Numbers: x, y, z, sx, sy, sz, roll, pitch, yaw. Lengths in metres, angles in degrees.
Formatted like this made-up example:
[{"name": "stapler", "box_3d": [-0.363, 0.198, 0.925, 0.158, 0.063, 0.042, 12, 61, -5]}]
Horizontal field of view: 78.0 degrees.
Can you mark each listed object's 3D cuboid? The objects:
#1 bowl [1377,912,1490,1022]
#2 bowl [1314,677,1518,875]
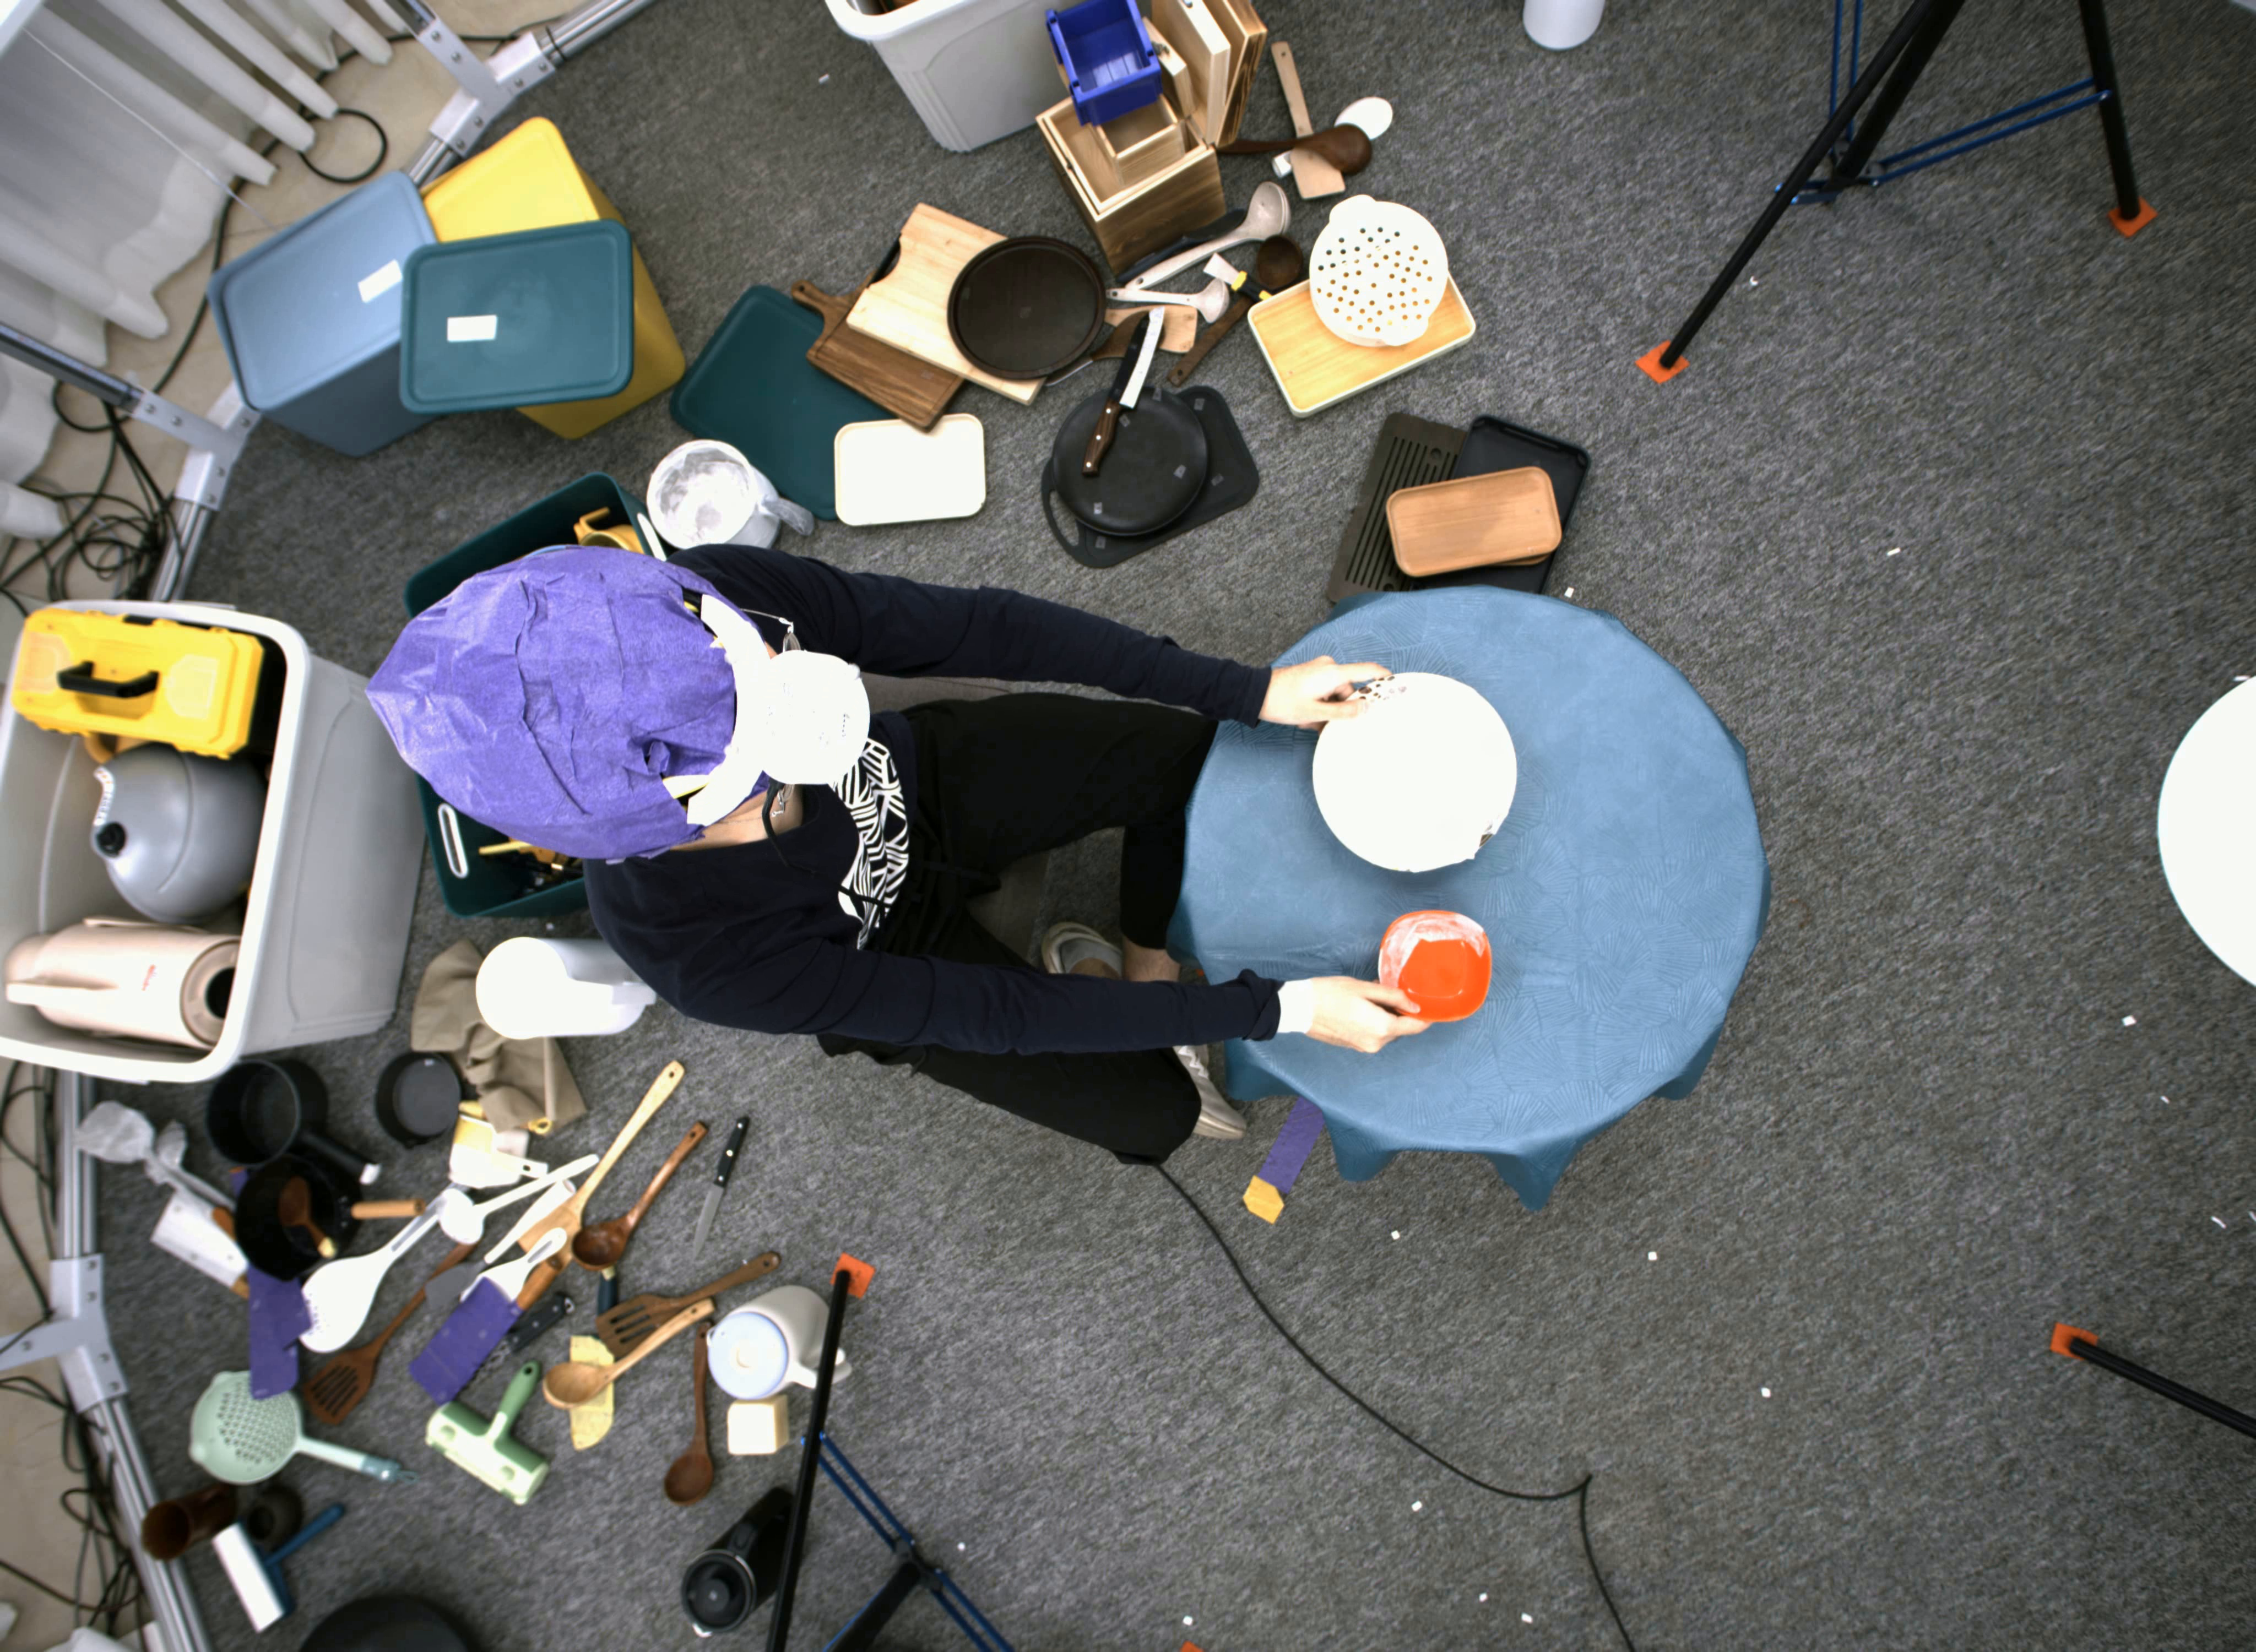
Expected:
[{"name": "bowl", "box_3d": [0.308, 0.140, 1.395, 0.119, 0.051, 0.118, -1, 88, 13]}, {"name": "bowl", "box_3d": [0.297, -0.048, 1.424, 0.205, 0.078, 0.202, -2, 84, 13]}]
